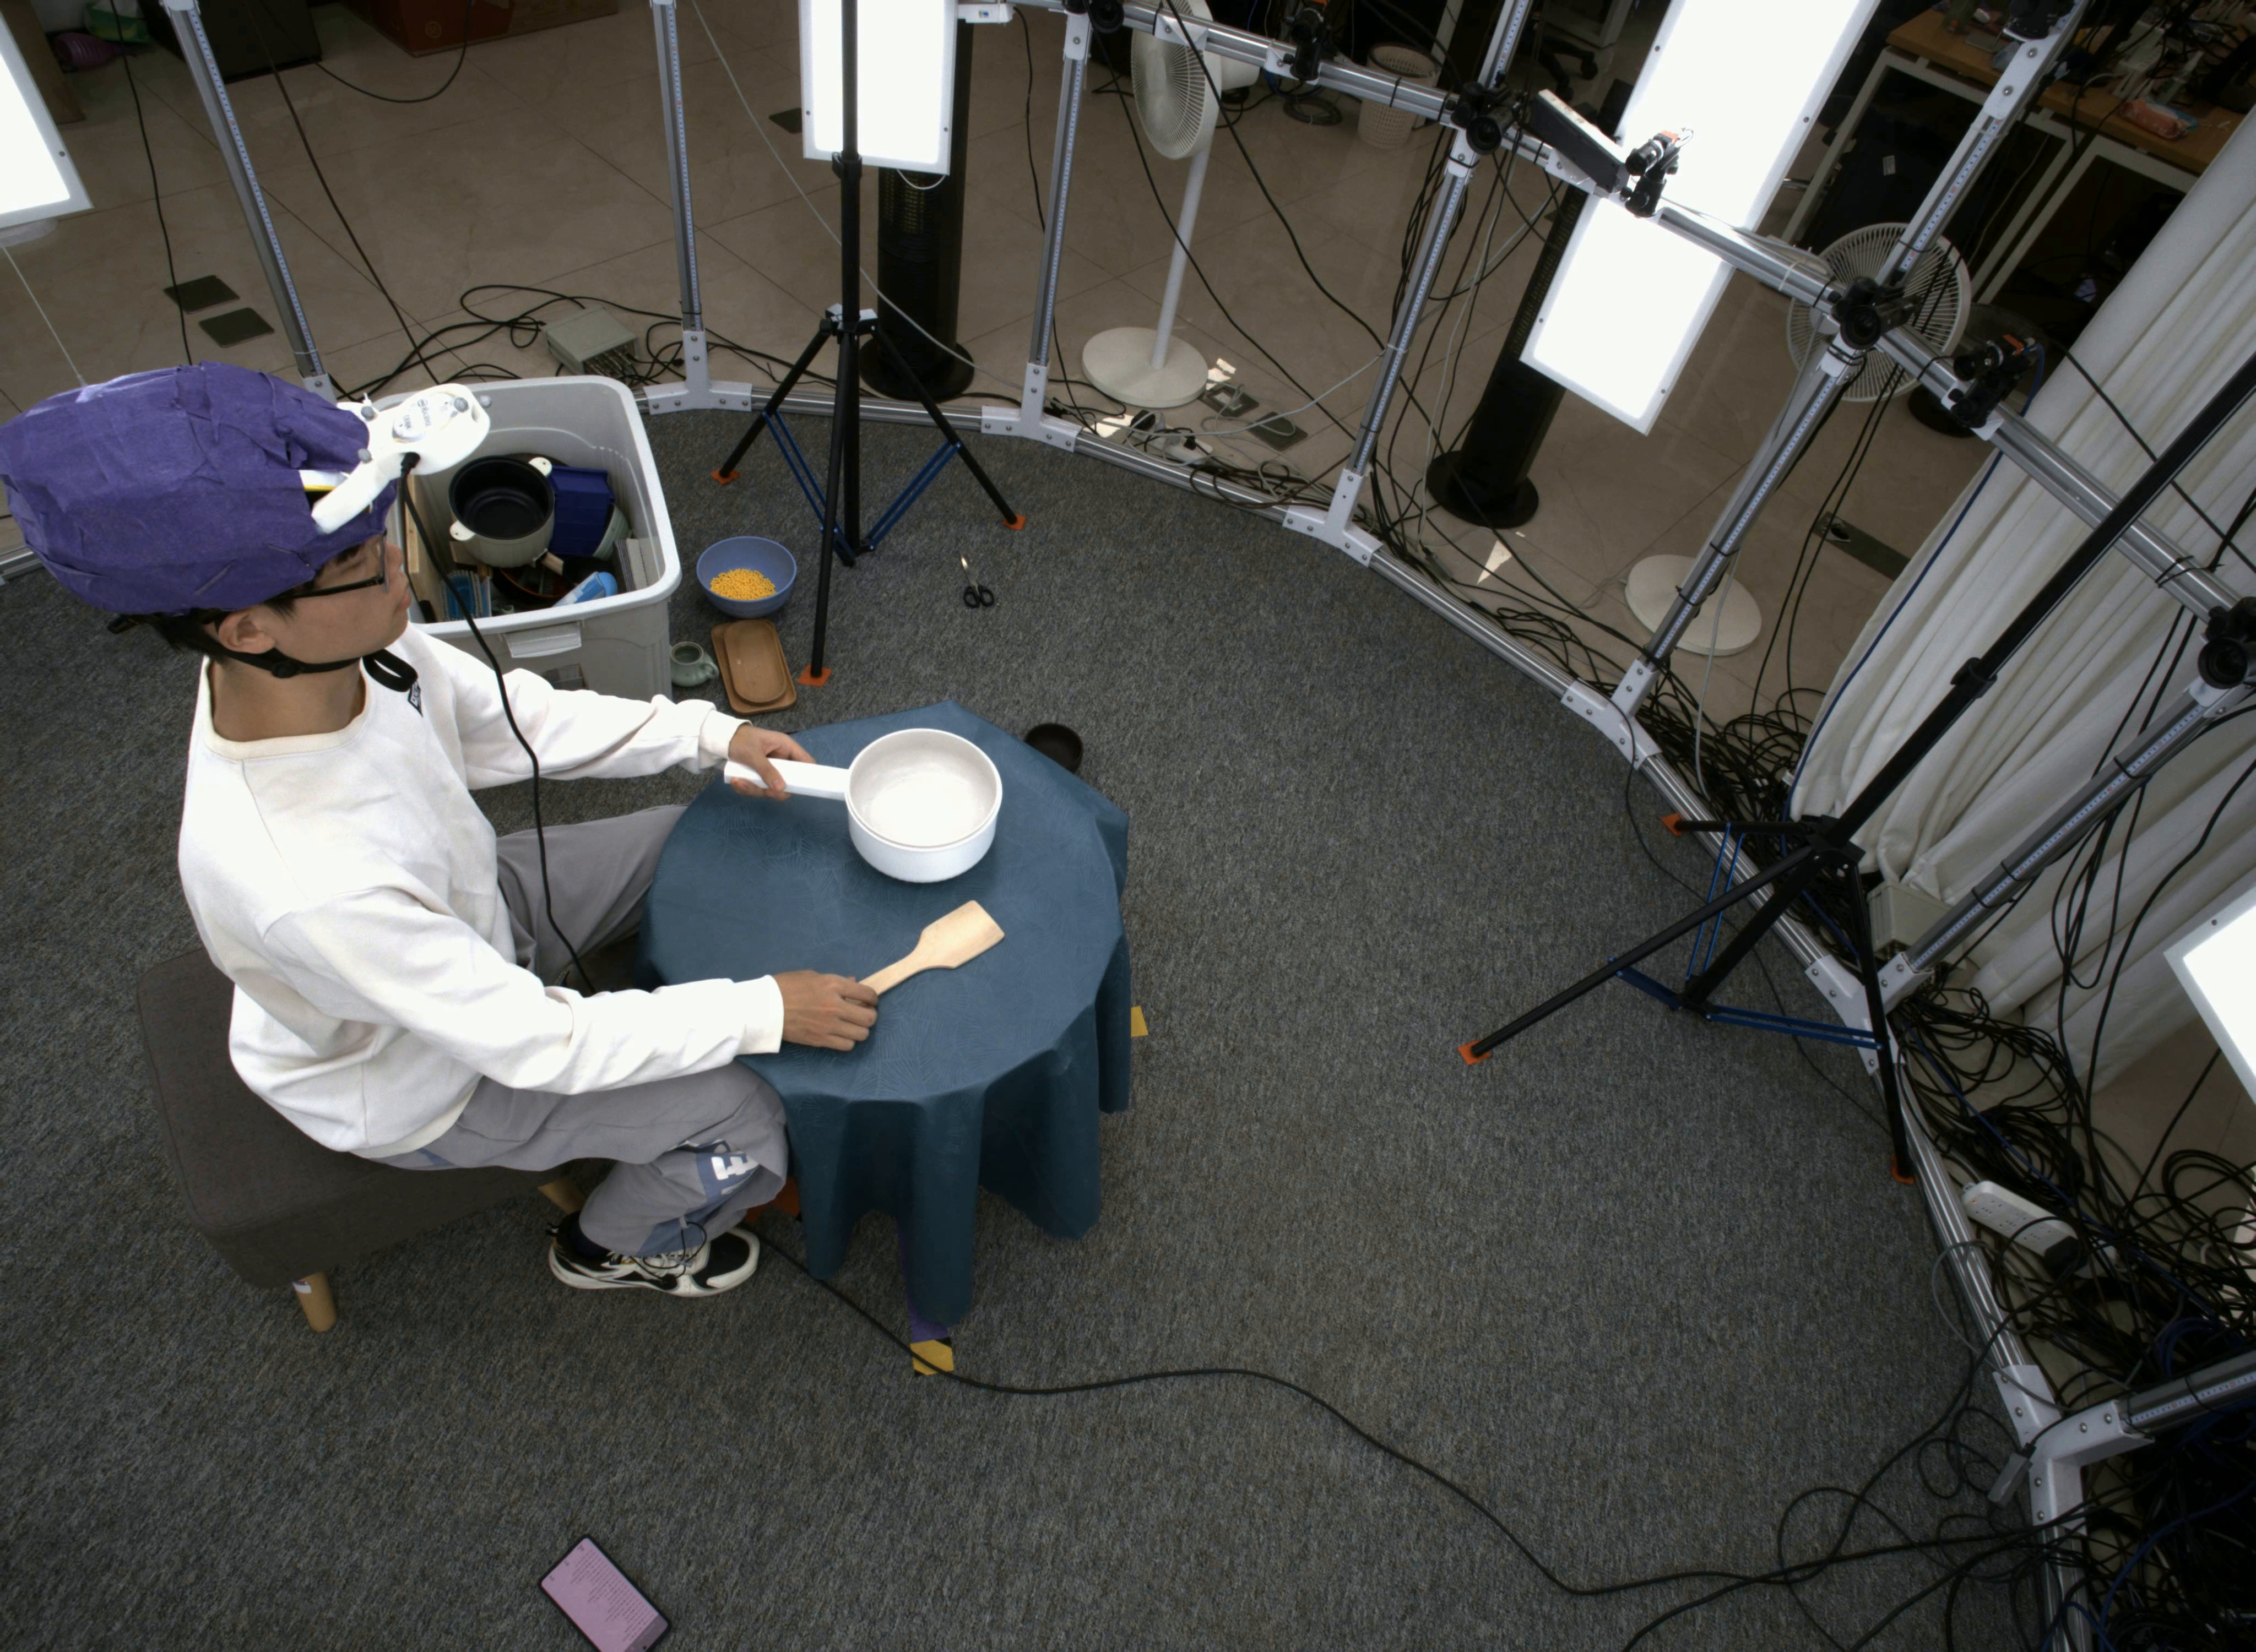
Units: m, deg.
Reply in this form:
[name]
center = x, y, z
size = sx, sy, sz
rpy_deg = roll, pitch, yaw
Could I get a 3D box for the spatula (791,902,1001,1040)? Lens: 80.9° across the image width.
[spatula]
center = -0.290, 0.183, 1.622
size = 0.294, 0.011, 0.070
rpy_deg = -30, 66, -32

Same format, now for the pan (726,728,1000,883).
[pan]
center = -0.347, -0.033, 1.714
size = 0.353, 0.104, 0.198
rpy_deg = 8, 53, -6
